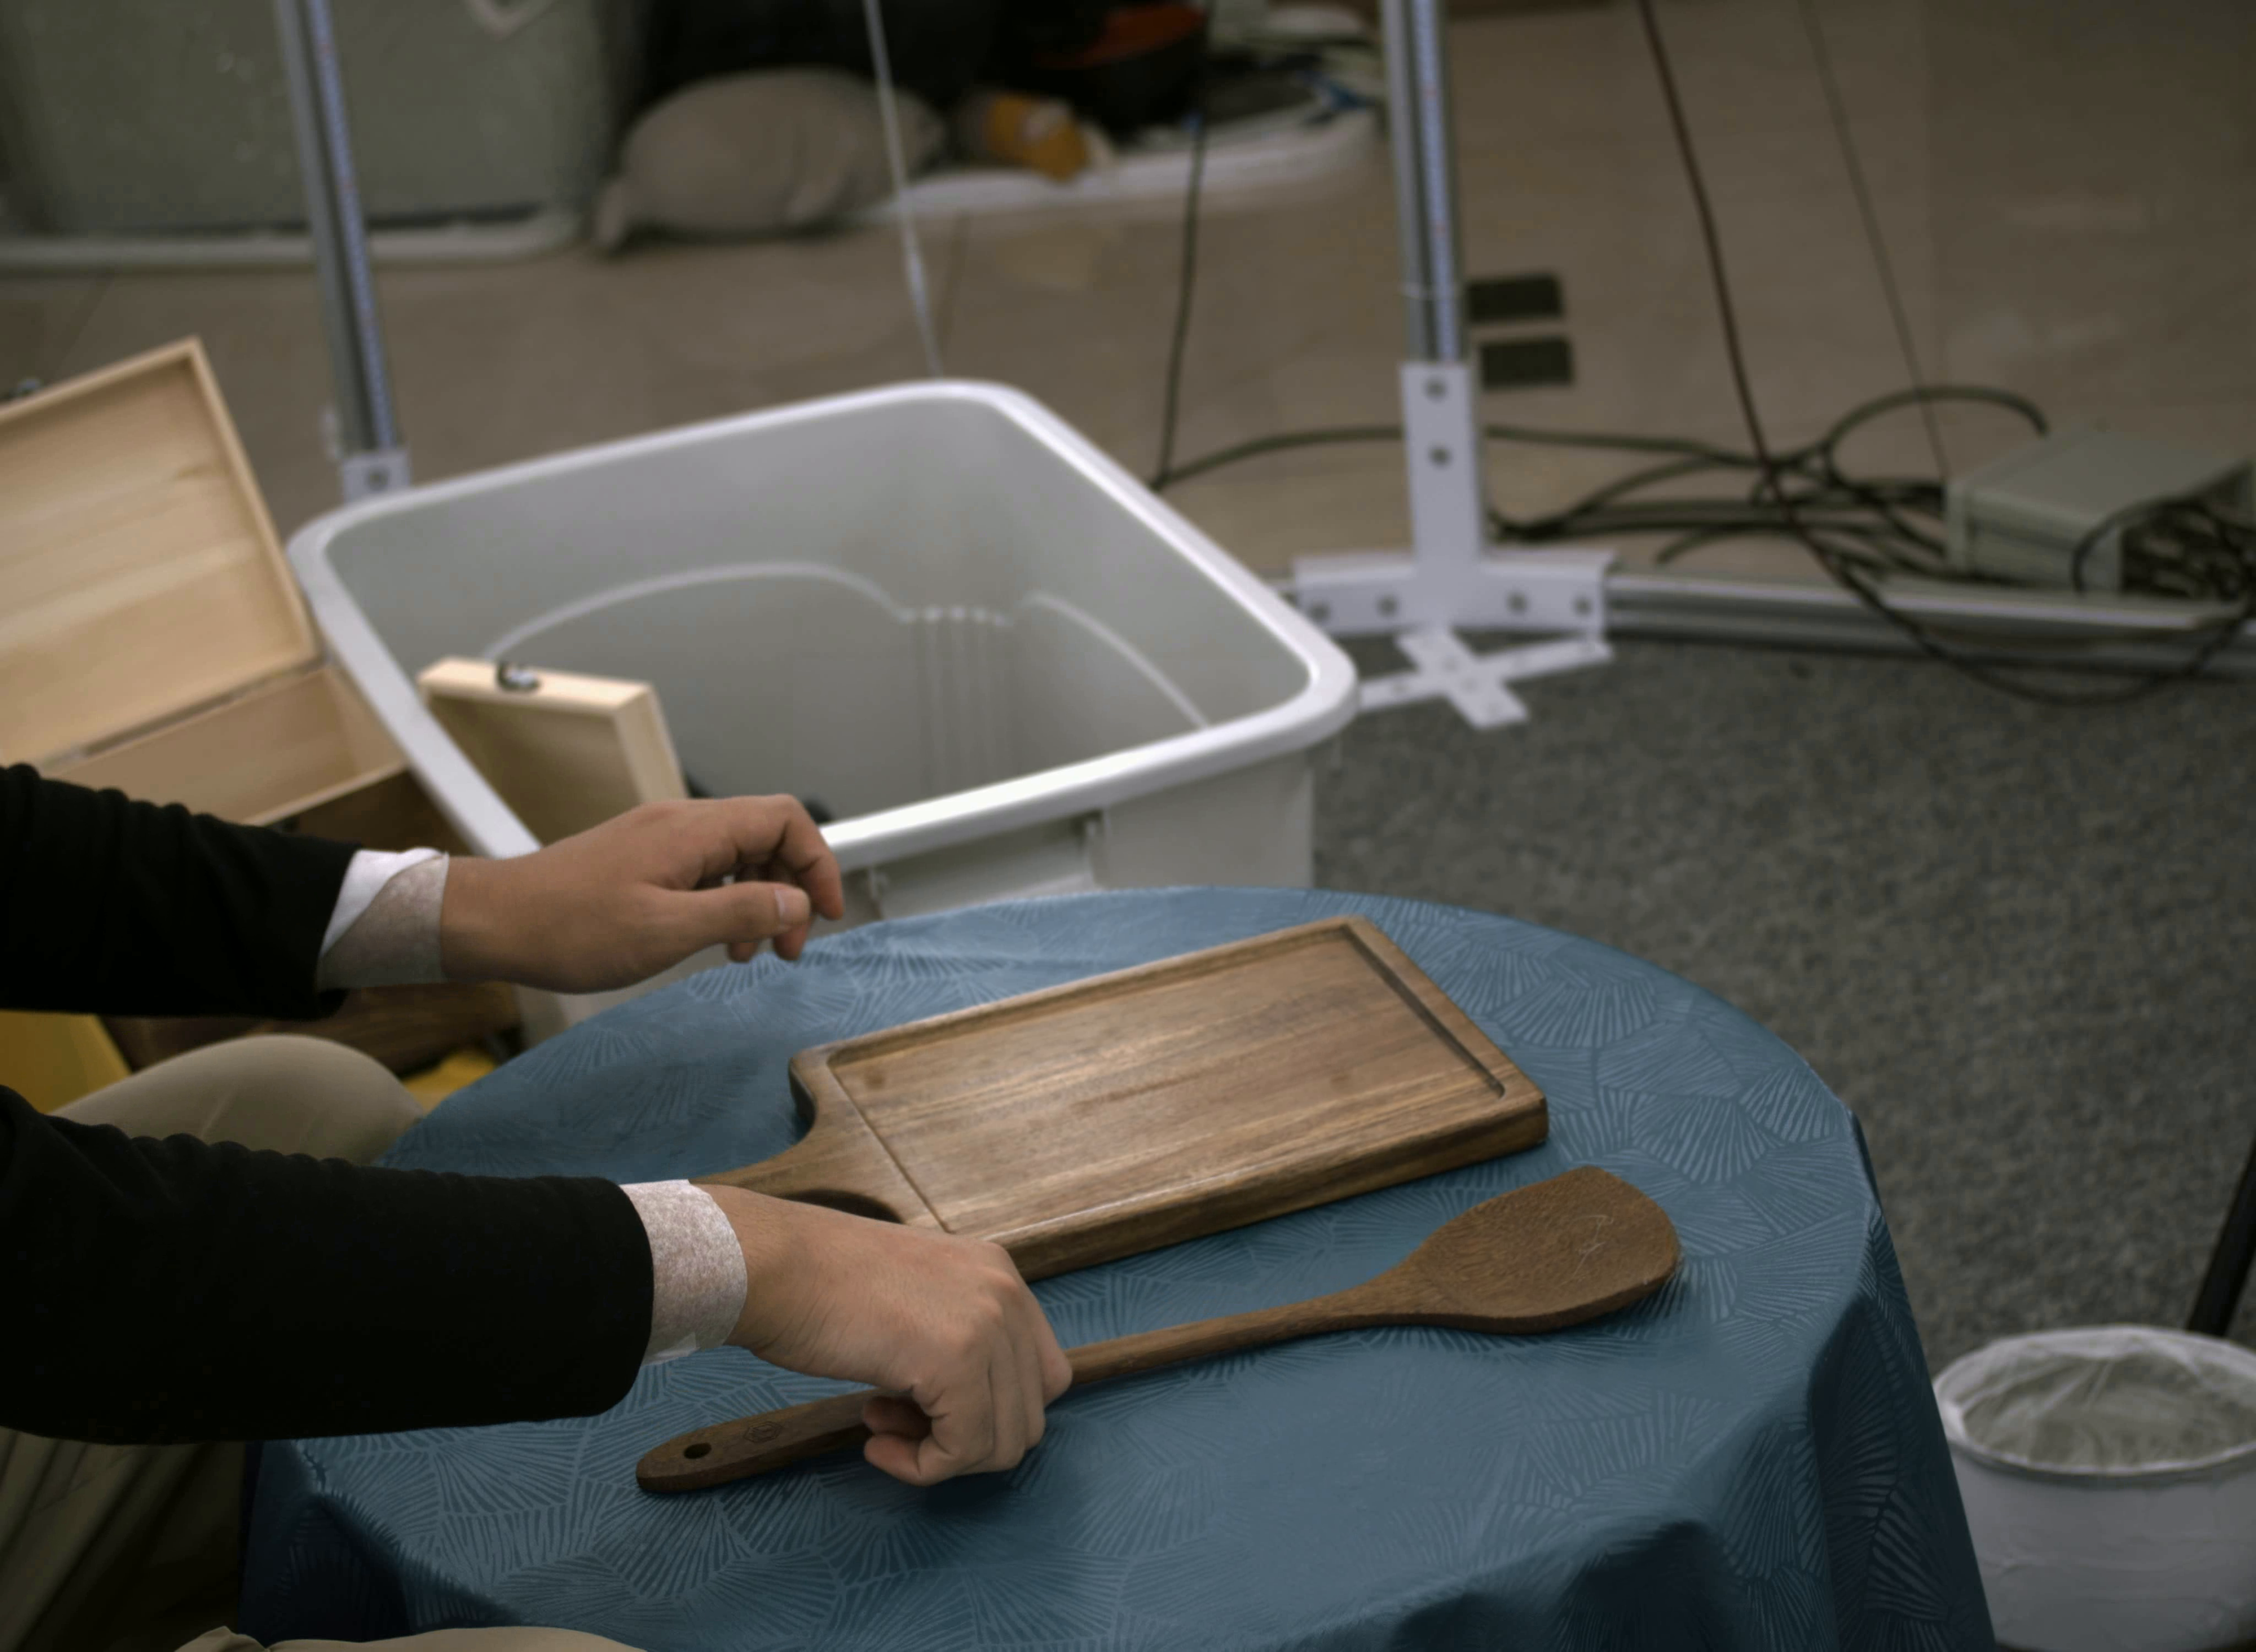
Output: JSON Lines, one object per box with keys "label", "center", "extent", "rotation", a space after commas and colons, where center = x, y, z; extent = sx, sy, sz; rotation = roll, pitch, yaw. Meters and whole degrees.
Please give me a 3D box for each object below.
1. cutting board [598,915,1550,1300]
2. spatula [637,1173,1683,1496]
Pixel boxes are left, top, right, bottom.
{"label": "cutting board", "center": [-0.035, 0.116, 2.181], "extent": [0.351, 0.023, 0.198], "rotation": [-14, 26, -16]}
{"label": "spatula", "center": [0.012, 0.186, 2.026], "extent": [0.385, 0.016, 0.095], "rotation": [-12, 25, -12]}
